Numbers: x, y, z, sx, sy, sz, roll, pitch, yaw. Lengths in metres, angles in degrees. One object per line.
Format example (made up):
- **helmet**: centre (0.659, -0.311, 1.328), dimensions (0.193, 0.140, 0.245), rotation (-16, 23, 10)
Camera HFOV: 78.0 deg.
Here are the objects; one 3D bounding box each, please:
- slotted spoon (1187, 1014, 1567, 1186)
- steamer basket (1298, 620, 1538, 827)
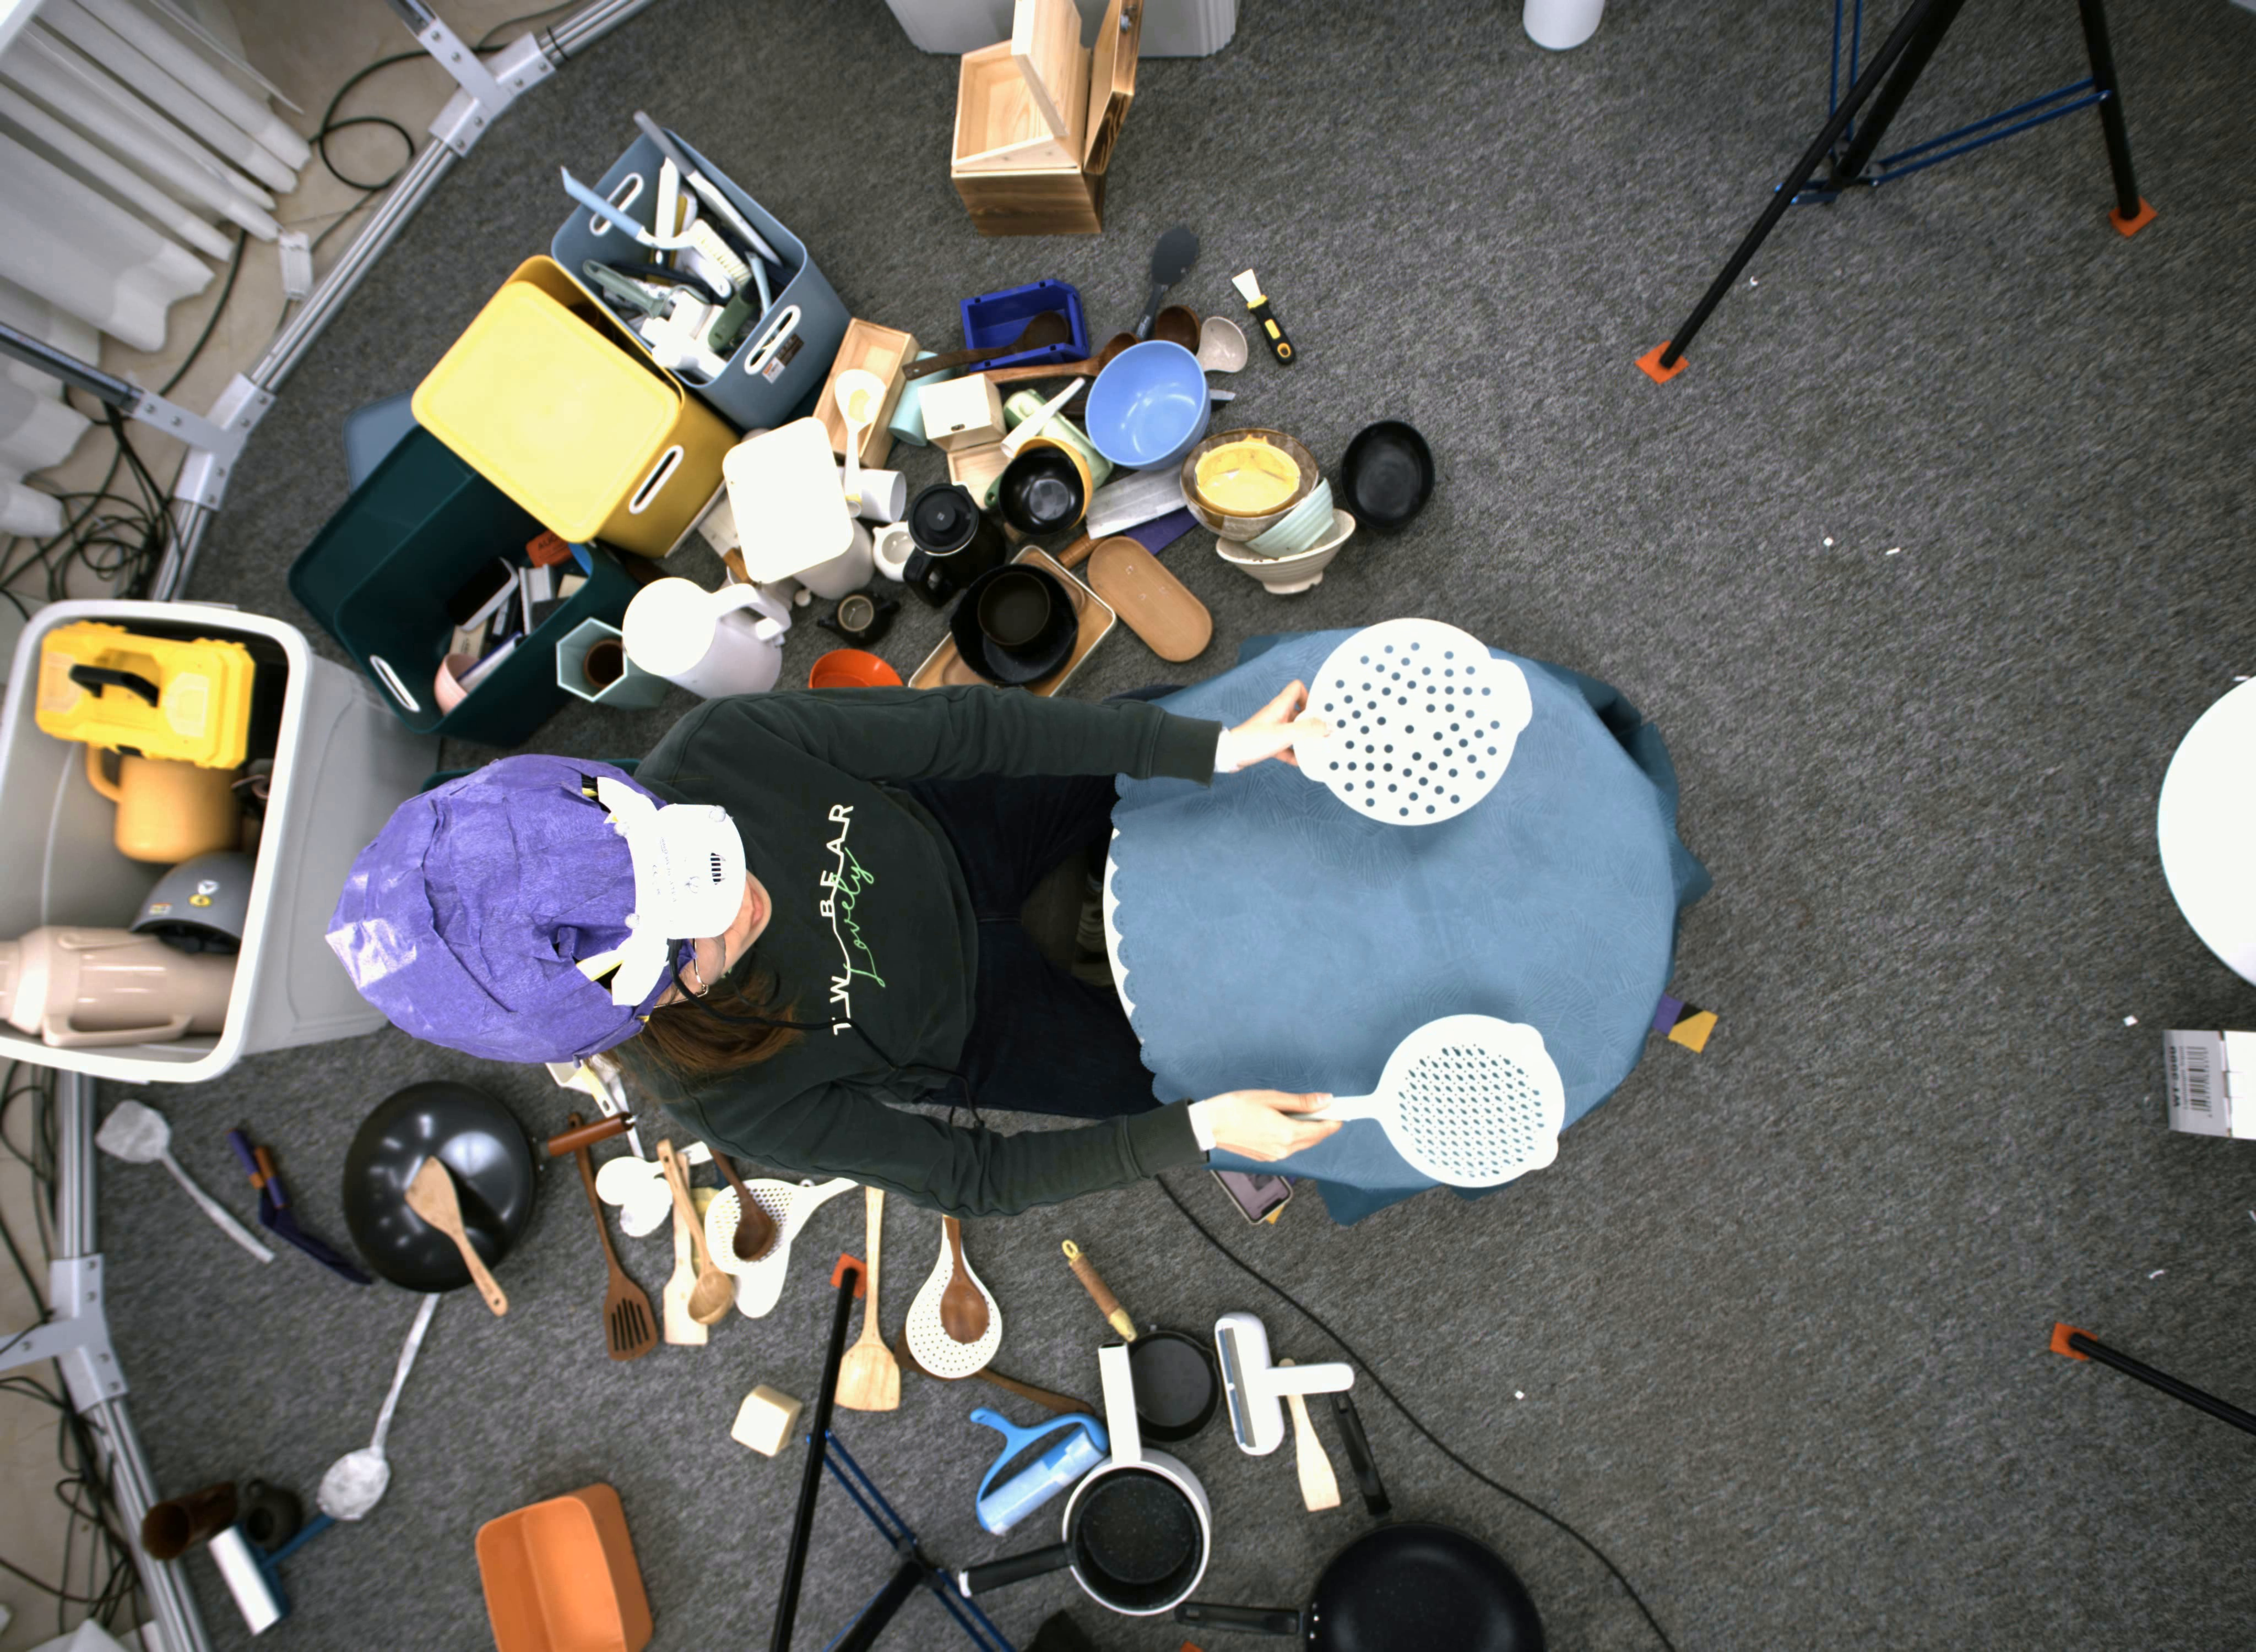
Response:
- **slotted spoon**: centre (0.234, 0.271, 1.333), dimensions (0.360, 0.077, 0.165), rotation (-2, 59, 6)
- **steamer basket**: centre (0.285, -0.100, 1.355), dimensions (0.232, 0.069, 0.201), rotation (-16, 84, 10)
